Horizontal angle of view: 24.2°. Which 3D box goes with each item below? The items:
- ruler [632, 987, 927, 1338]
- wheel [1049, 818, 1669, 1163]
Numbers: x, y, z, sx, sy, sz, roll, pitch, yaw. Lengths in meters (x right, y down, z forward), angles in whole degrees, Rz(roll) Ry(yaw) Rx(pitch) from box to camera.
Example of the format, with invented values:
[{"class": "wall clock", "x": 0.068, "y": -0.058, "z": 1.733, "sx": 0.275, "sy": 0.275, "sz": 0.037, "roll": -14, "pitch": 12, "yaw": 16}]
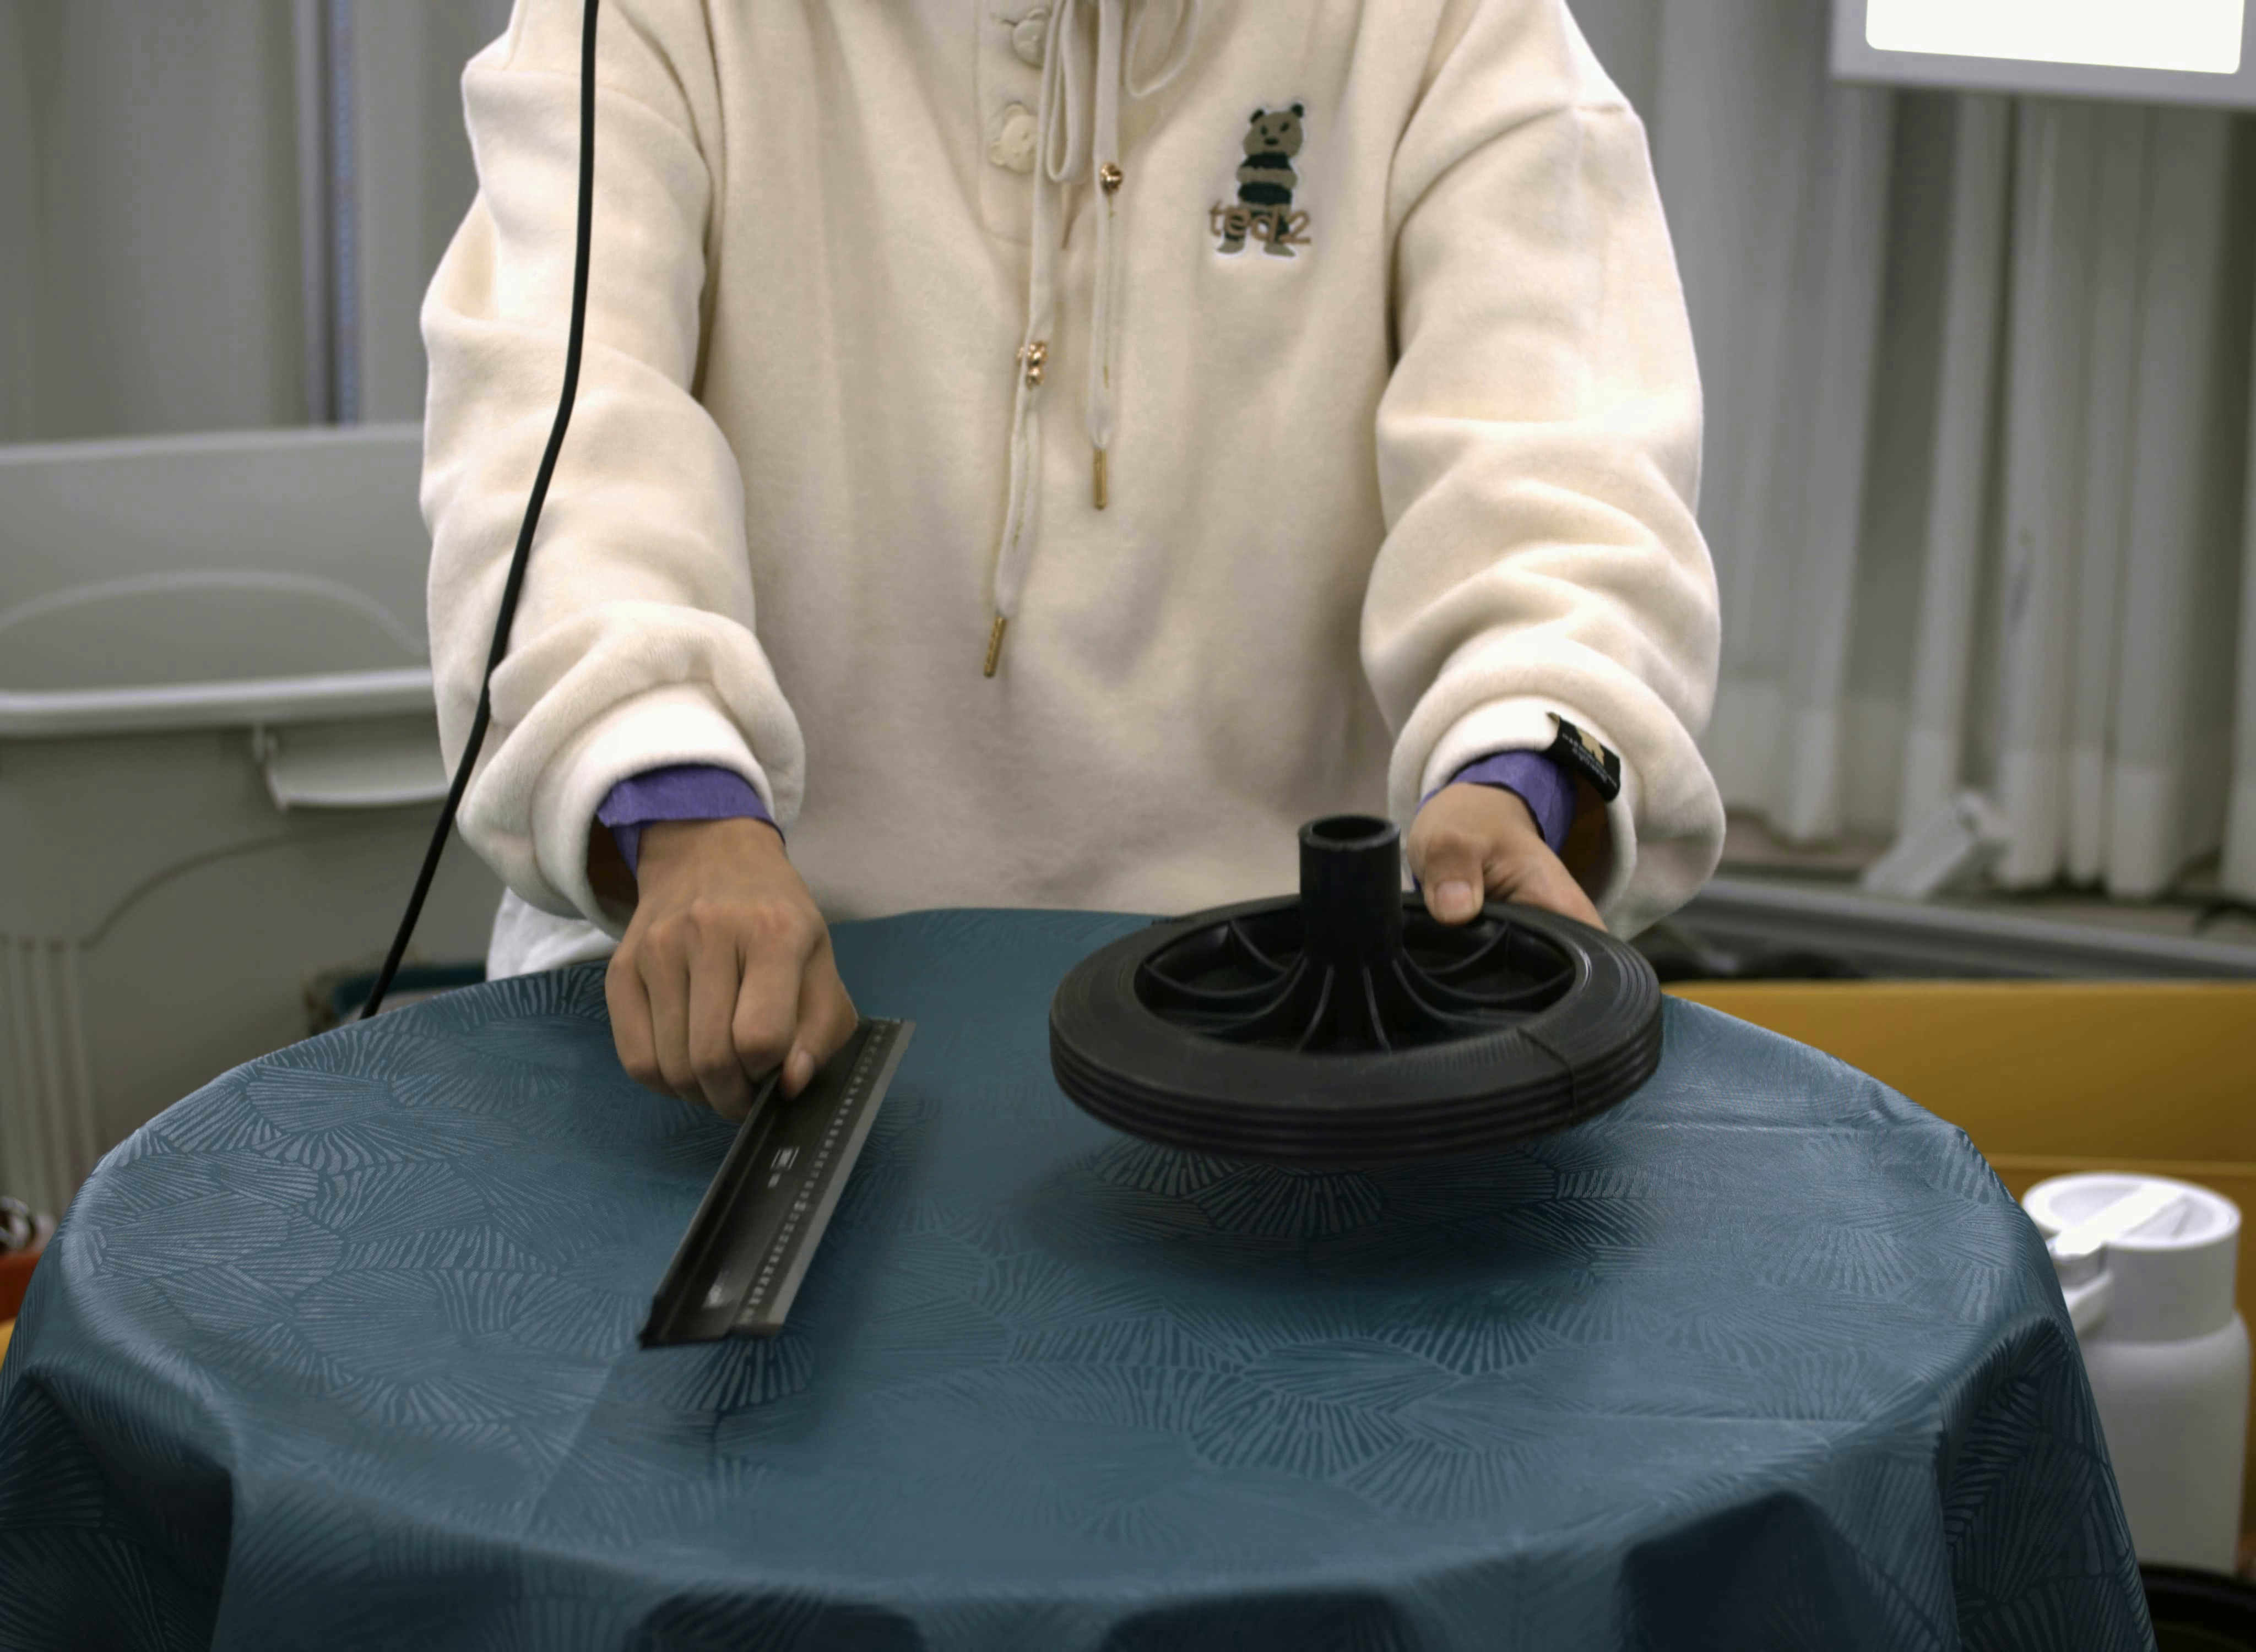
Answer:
[{"class": "ruler", "x": -0.100, "y": 0.093, "z": 1.555, "sx": 0.039, "sy": 0.017, "sz": 0.311, "roll": -2, "pitch": 13, "yaw": 7}, {"class": "wheel", "x": 0.069, "y": 0.040, "z": 1.603, "sx": 0.189, "sy": 0.080, "sz": 0.186, "roll": -4, "pitch": 19, "yaw": -4}]
